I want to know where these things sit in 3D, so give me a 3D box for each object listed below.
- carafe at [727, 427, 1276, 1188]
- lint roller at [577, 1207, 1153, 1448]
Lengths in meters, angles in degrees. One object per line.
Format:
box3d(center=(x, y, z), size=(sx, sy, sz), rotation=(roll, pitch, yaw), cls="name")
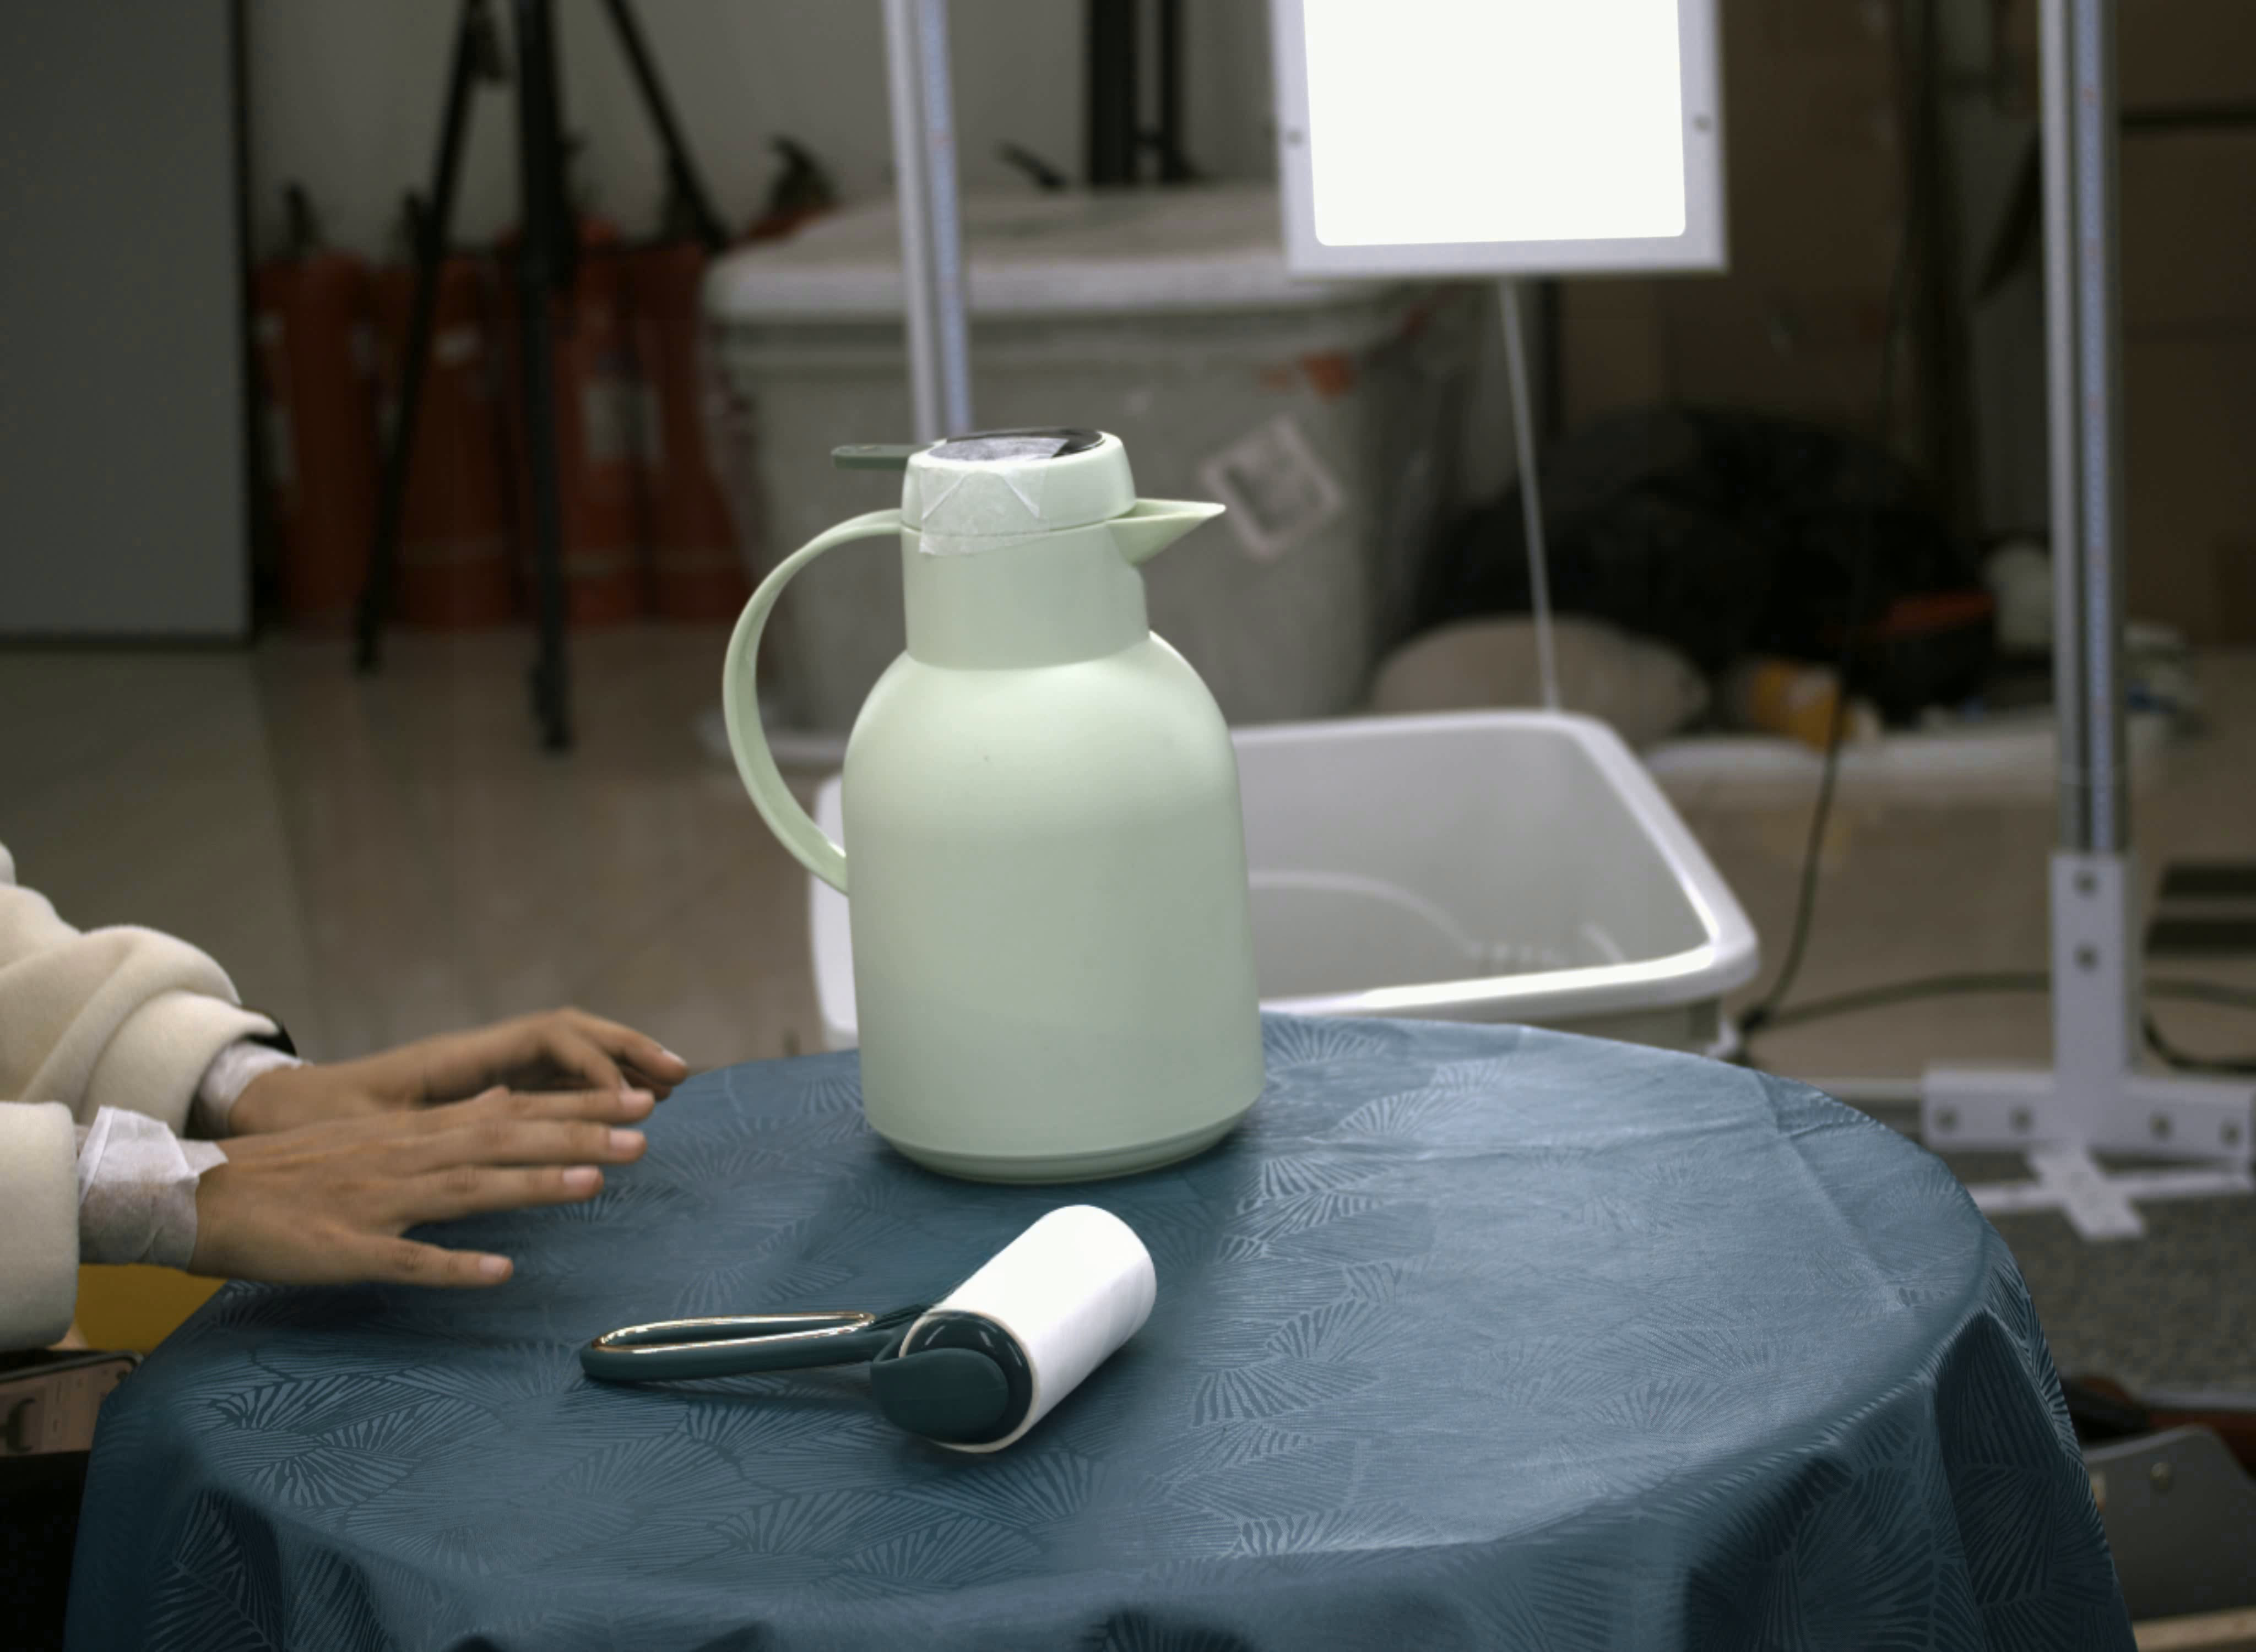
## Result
box3d(center=(-0.044, -0.010, 1.948), size=(0.189, 0.257, 0.142), rotation=(-4, 15, 17), cls="carafe")
box3d(center=(-0.093, 0.152, 1.725), size=(0.183, 0.048, 0.132), rotation=(1, 14, 24), cls="lint roller")
